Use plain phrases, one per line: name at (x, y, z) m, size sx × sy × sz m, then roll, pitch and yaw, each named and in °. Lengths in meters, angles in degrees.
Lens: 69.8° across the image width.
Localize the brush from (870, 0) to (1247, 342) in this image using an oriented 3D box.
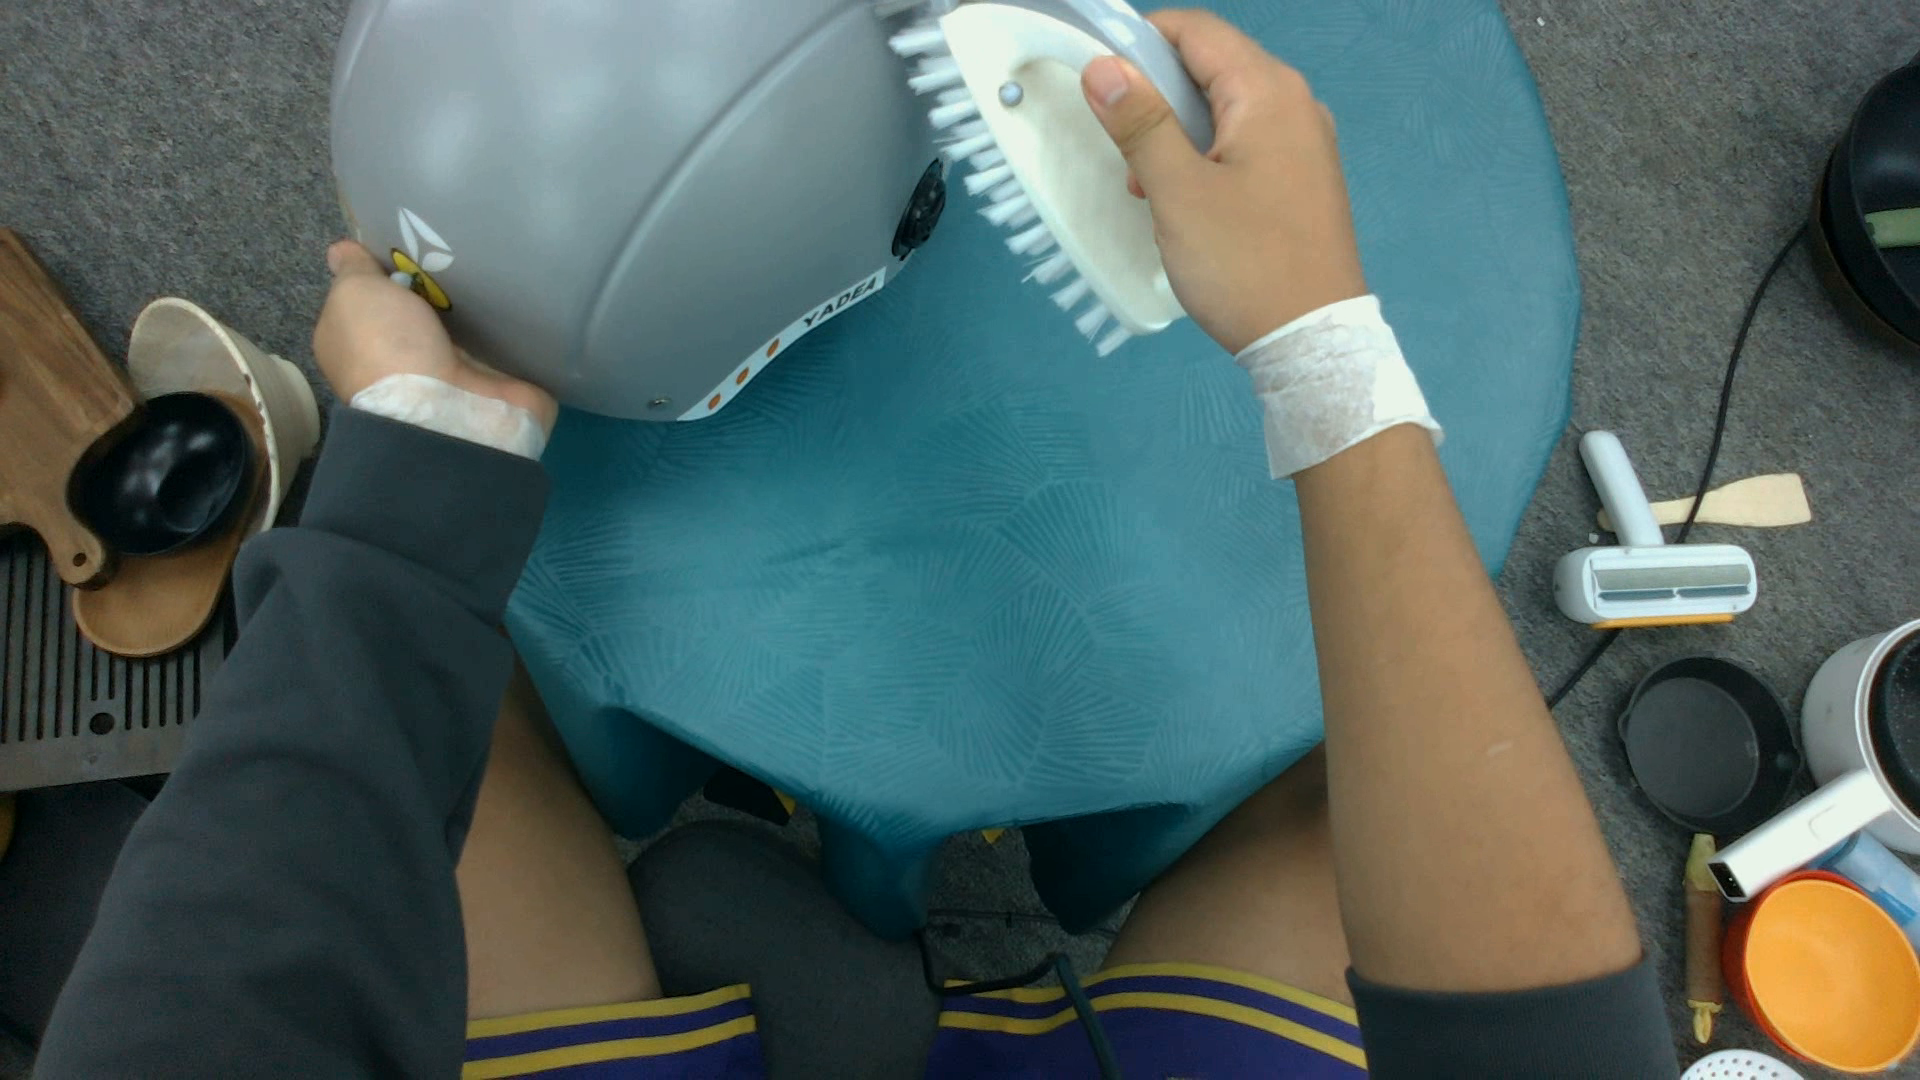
brush at (0.037, -0.159, 0.493) m, size 0.175 × 0.094 × 0.062 m, roll 51°, pitch 60°, yaw -16°

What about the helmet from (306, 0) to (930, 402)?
helmet at (-0.121, -0.198, 0.533) m, size 0.232 × 0.168 × 0.277 m, roll 41°, pitch 74°, yaw -3°
